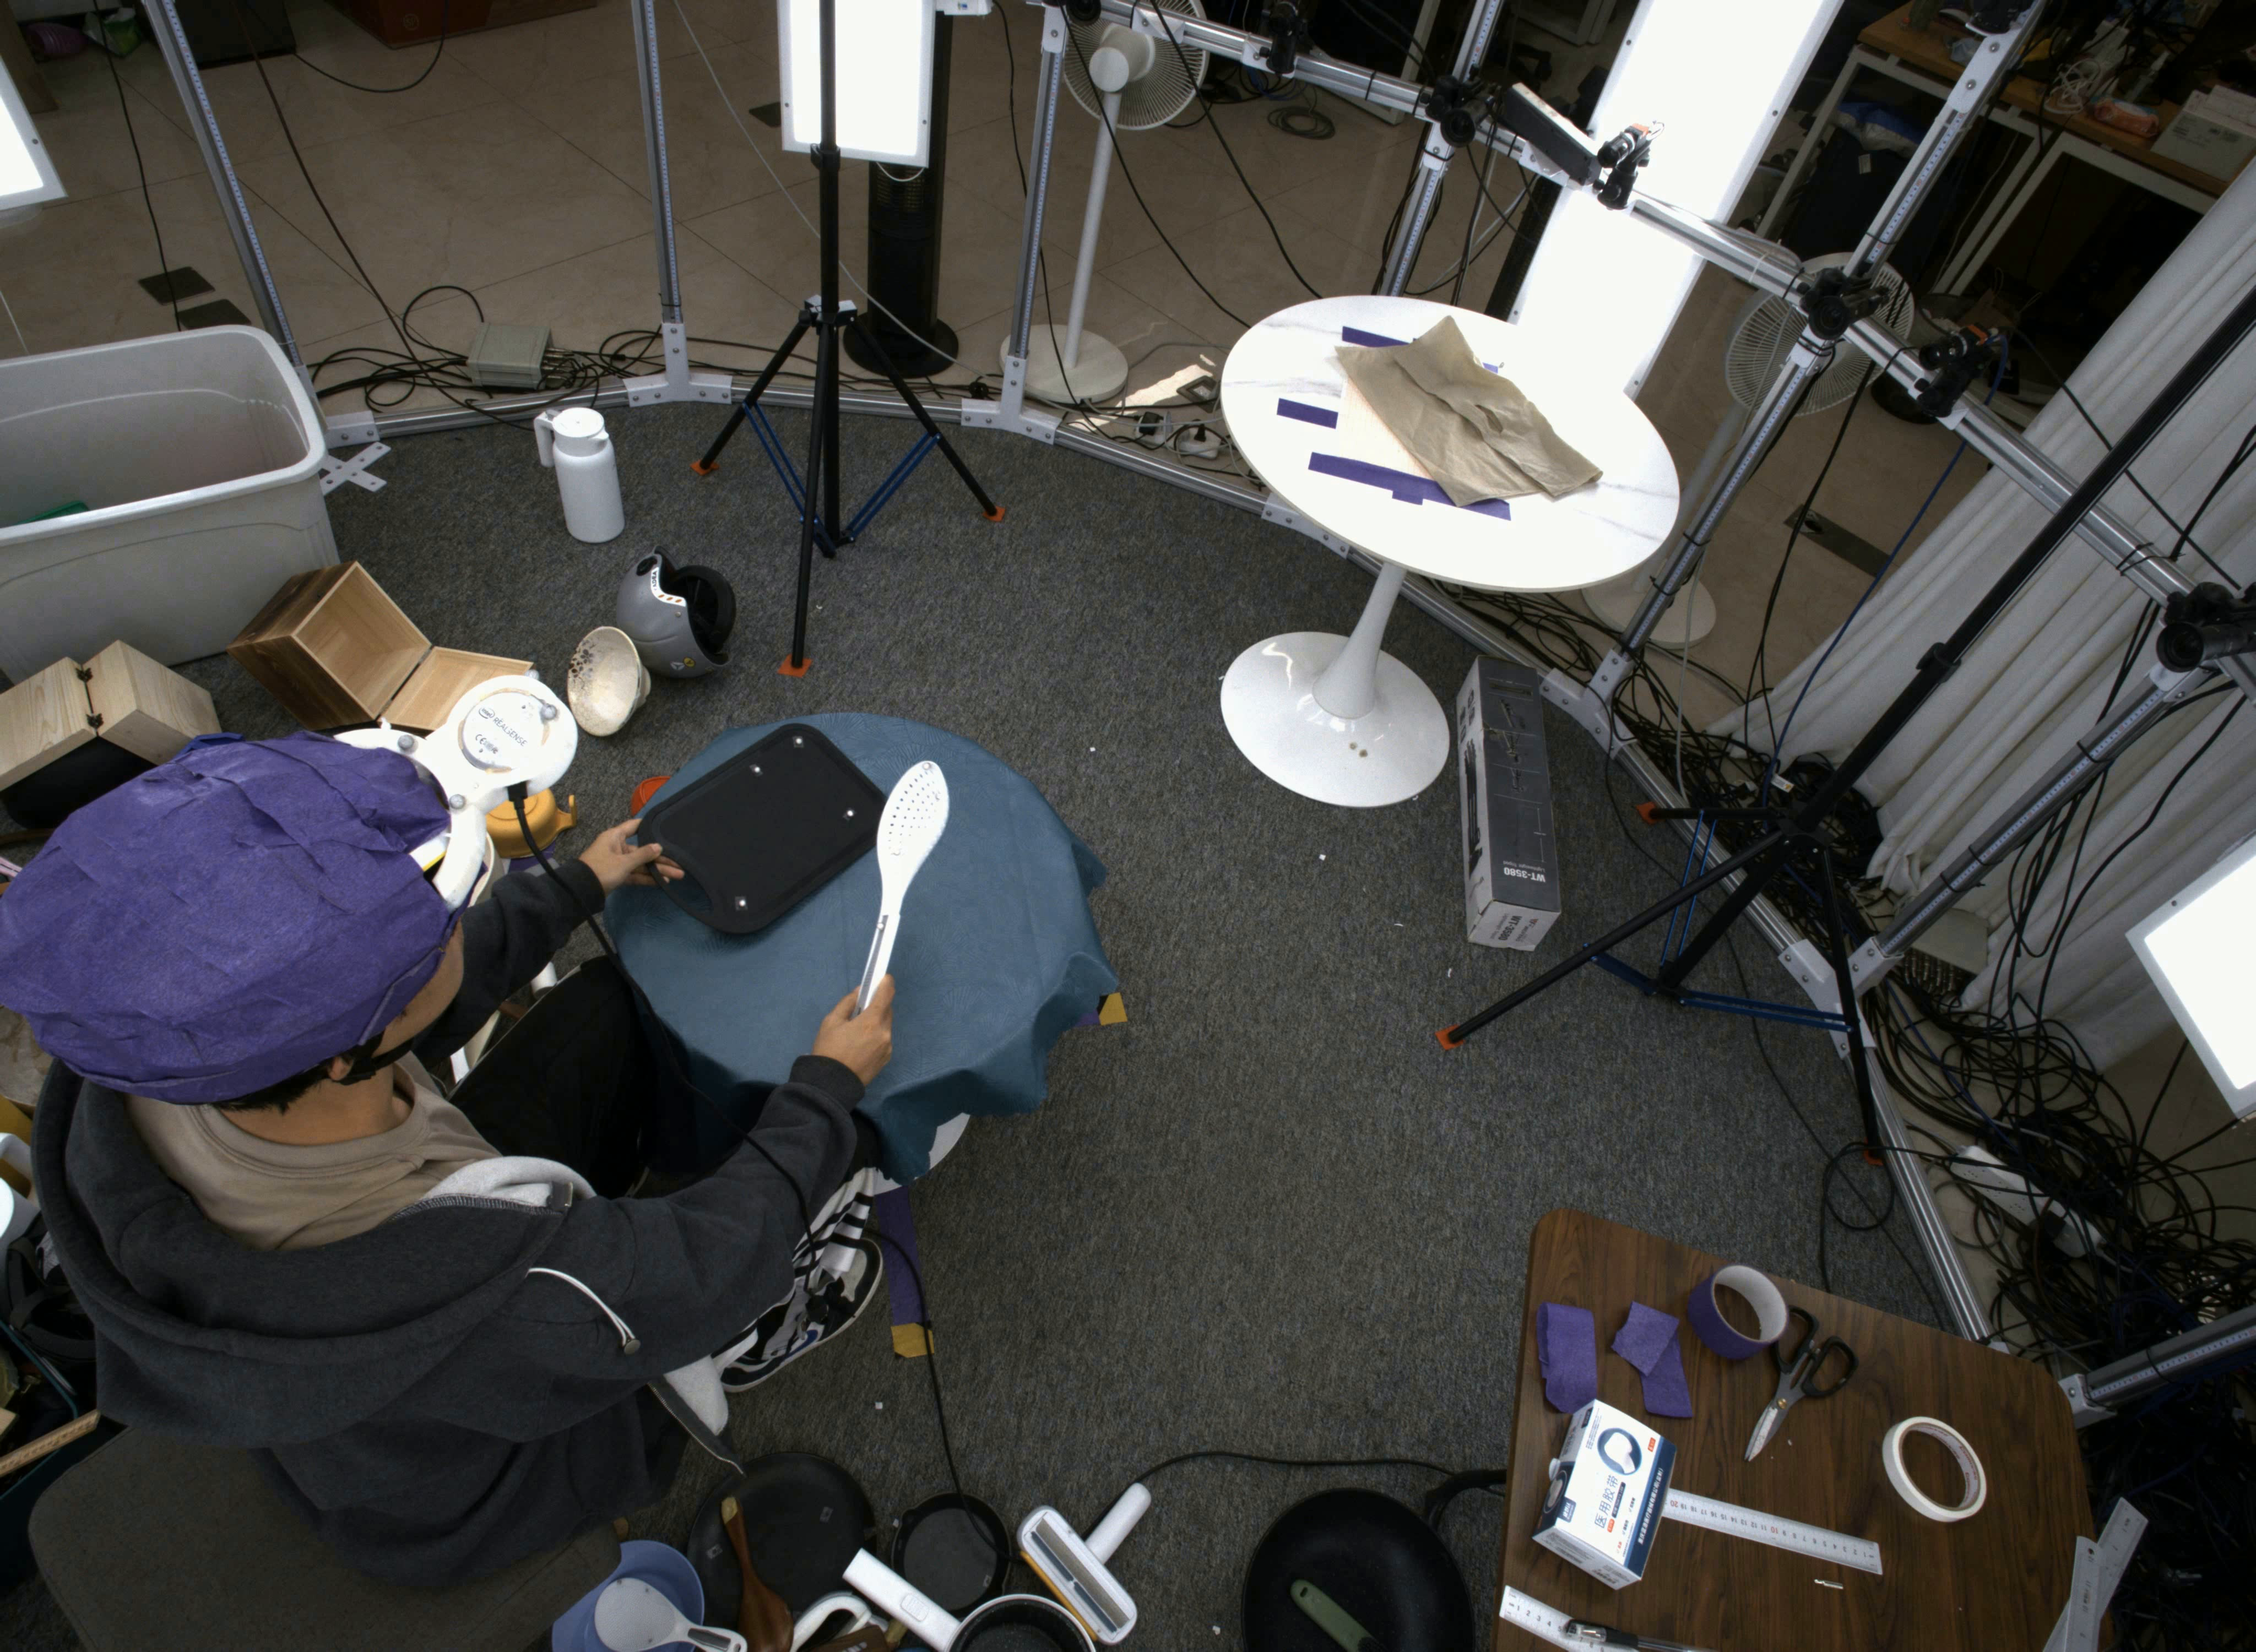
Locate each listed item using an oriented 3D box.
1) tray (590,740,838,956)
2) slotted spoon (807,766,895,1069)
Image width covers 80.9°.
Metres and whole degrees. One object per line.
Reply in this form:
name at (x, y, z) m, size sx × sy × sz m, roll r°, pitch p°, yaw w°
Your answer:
tray at (-0.521, 0.023, 1.639) m, size 0.210 × 0.010 × 0.325 m, roll 43°, pitch 49°, yaw 2°
slotted spoon at (-0.324, 0.100, 1.484) m, size 0.047 × 0.133 × 0.348 m, roll 25°, pitch 66°, yaw -34°
